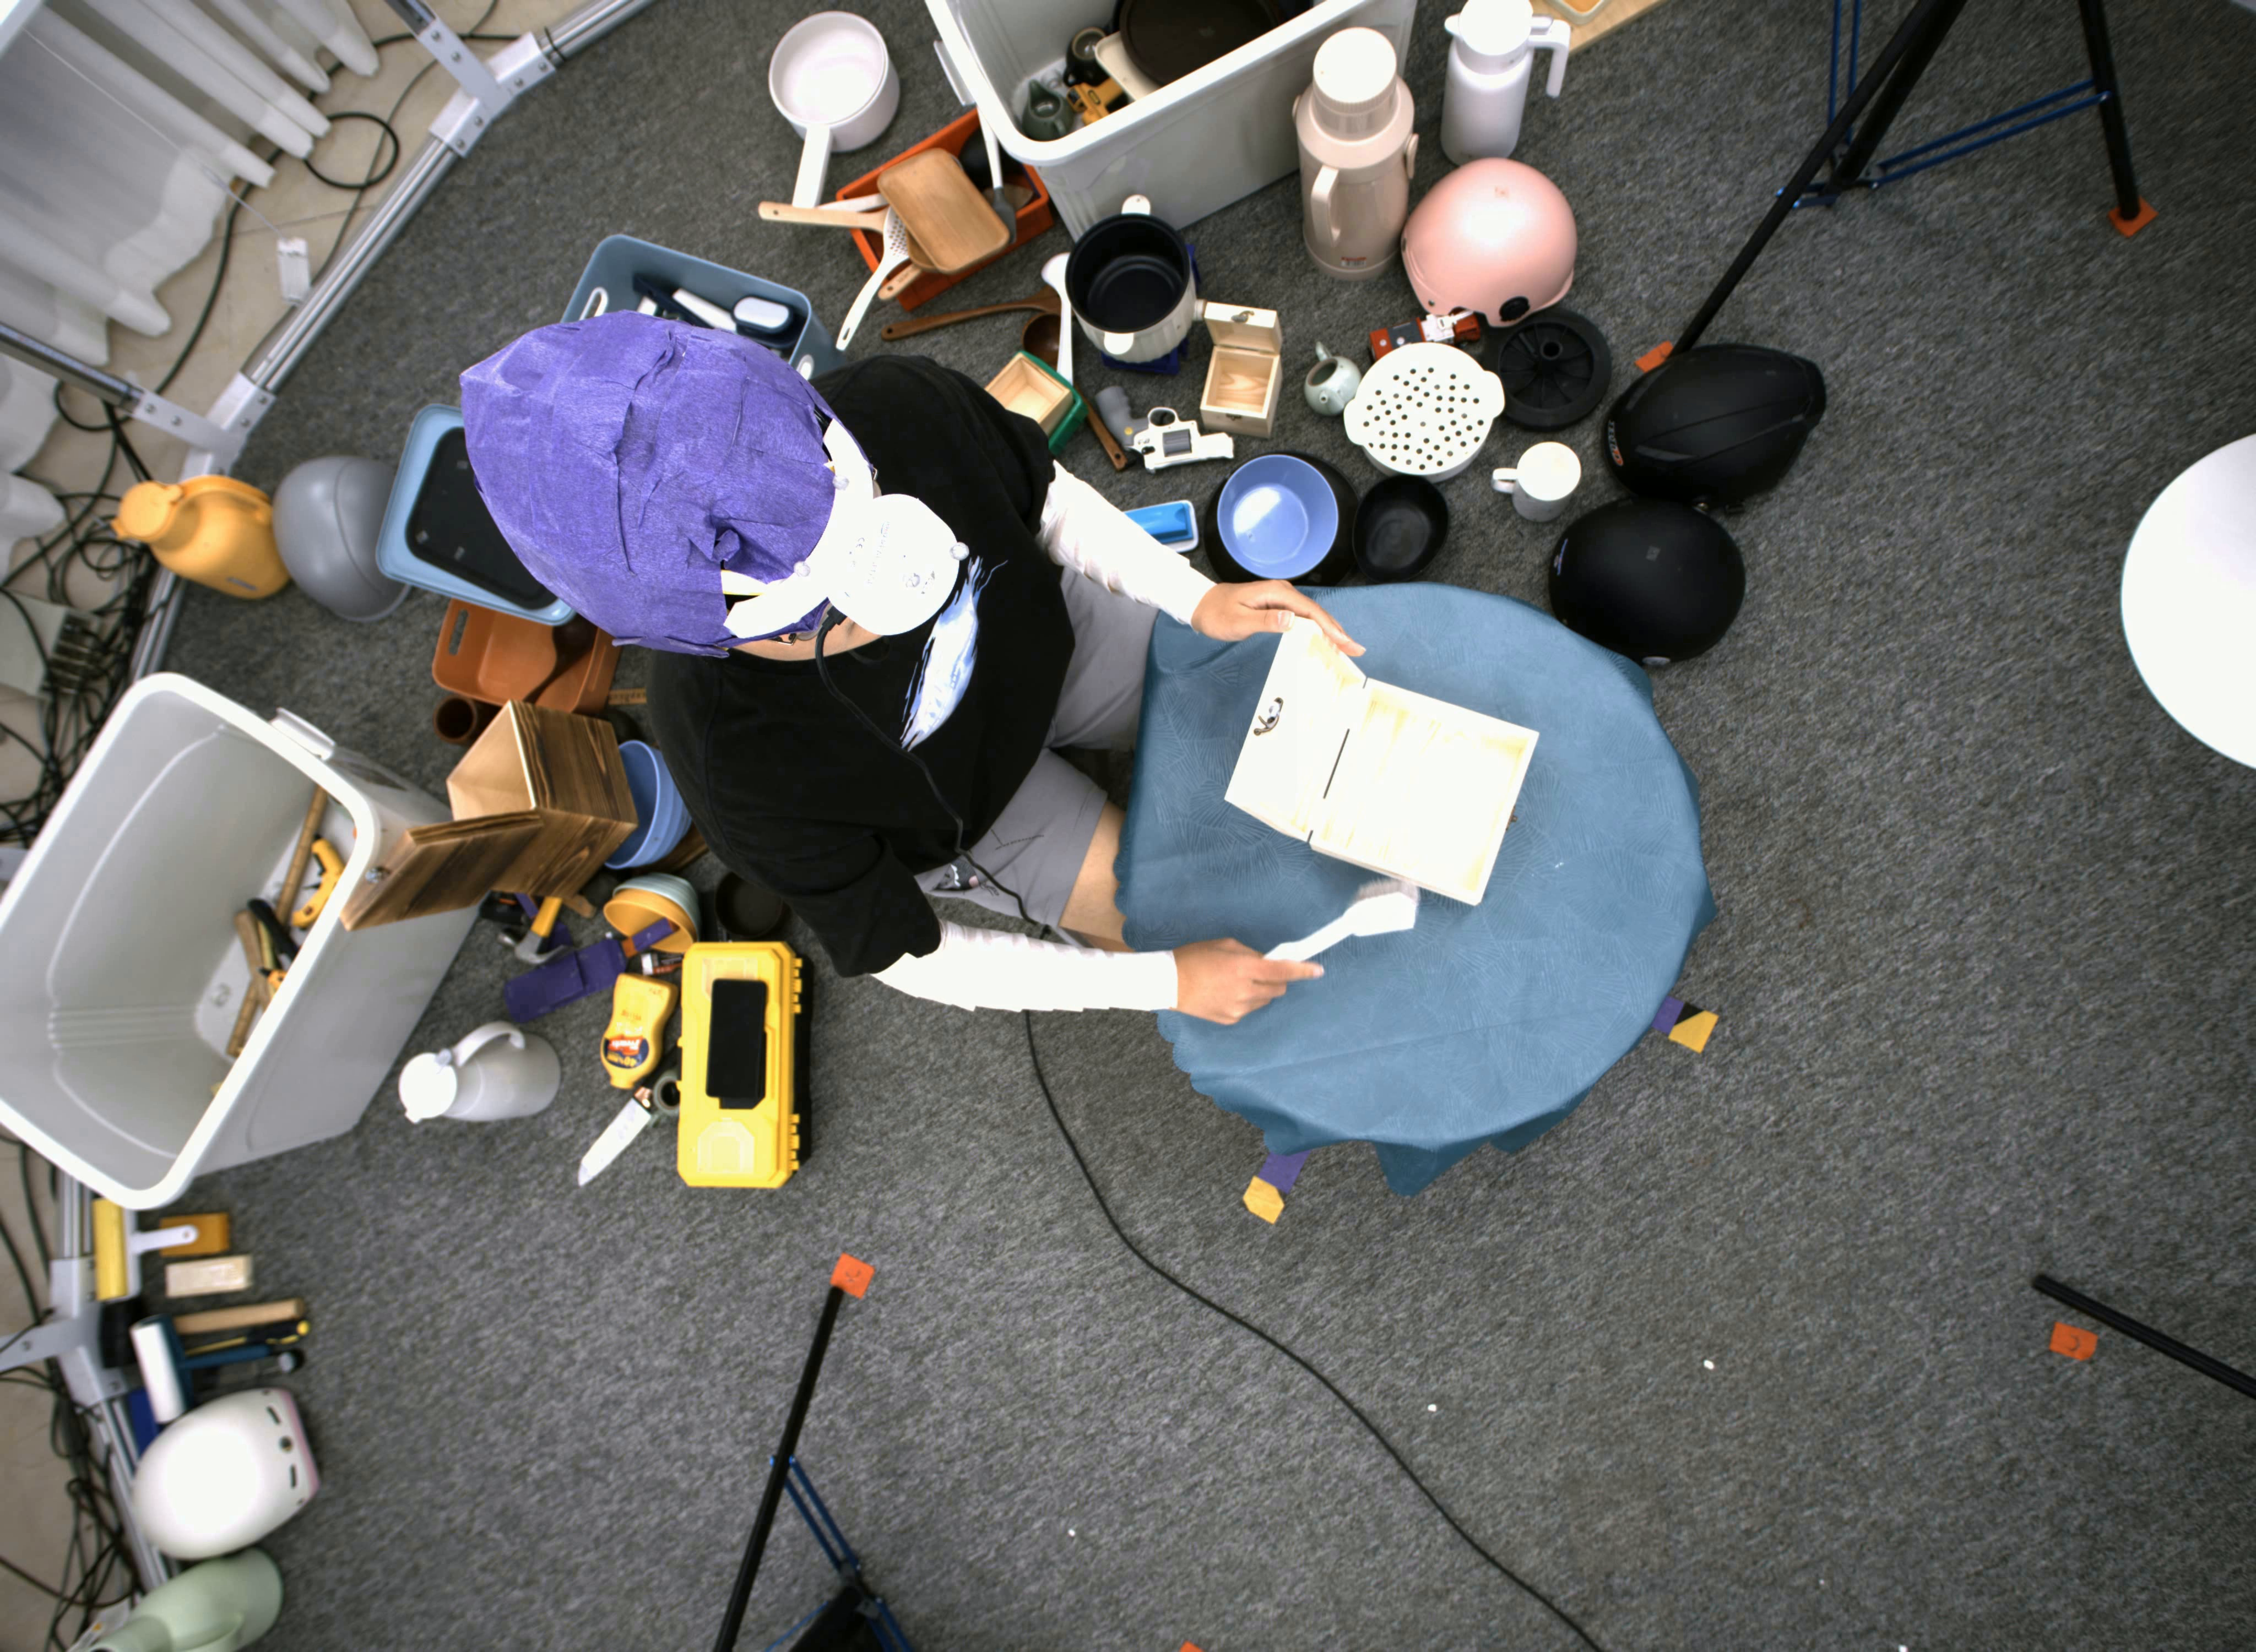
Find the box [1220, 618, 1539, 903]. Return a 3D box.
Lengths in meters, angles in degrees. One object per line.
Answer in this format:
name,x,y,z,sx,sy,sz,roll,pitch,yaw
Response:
box,0.256,-0.055,1.342,0.265,0.253,0.182,19,90,12

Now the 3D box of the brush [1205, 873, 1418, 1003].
brush,0.181,0.111,1.398,0.247,0.049,0.035,-29,119,27
